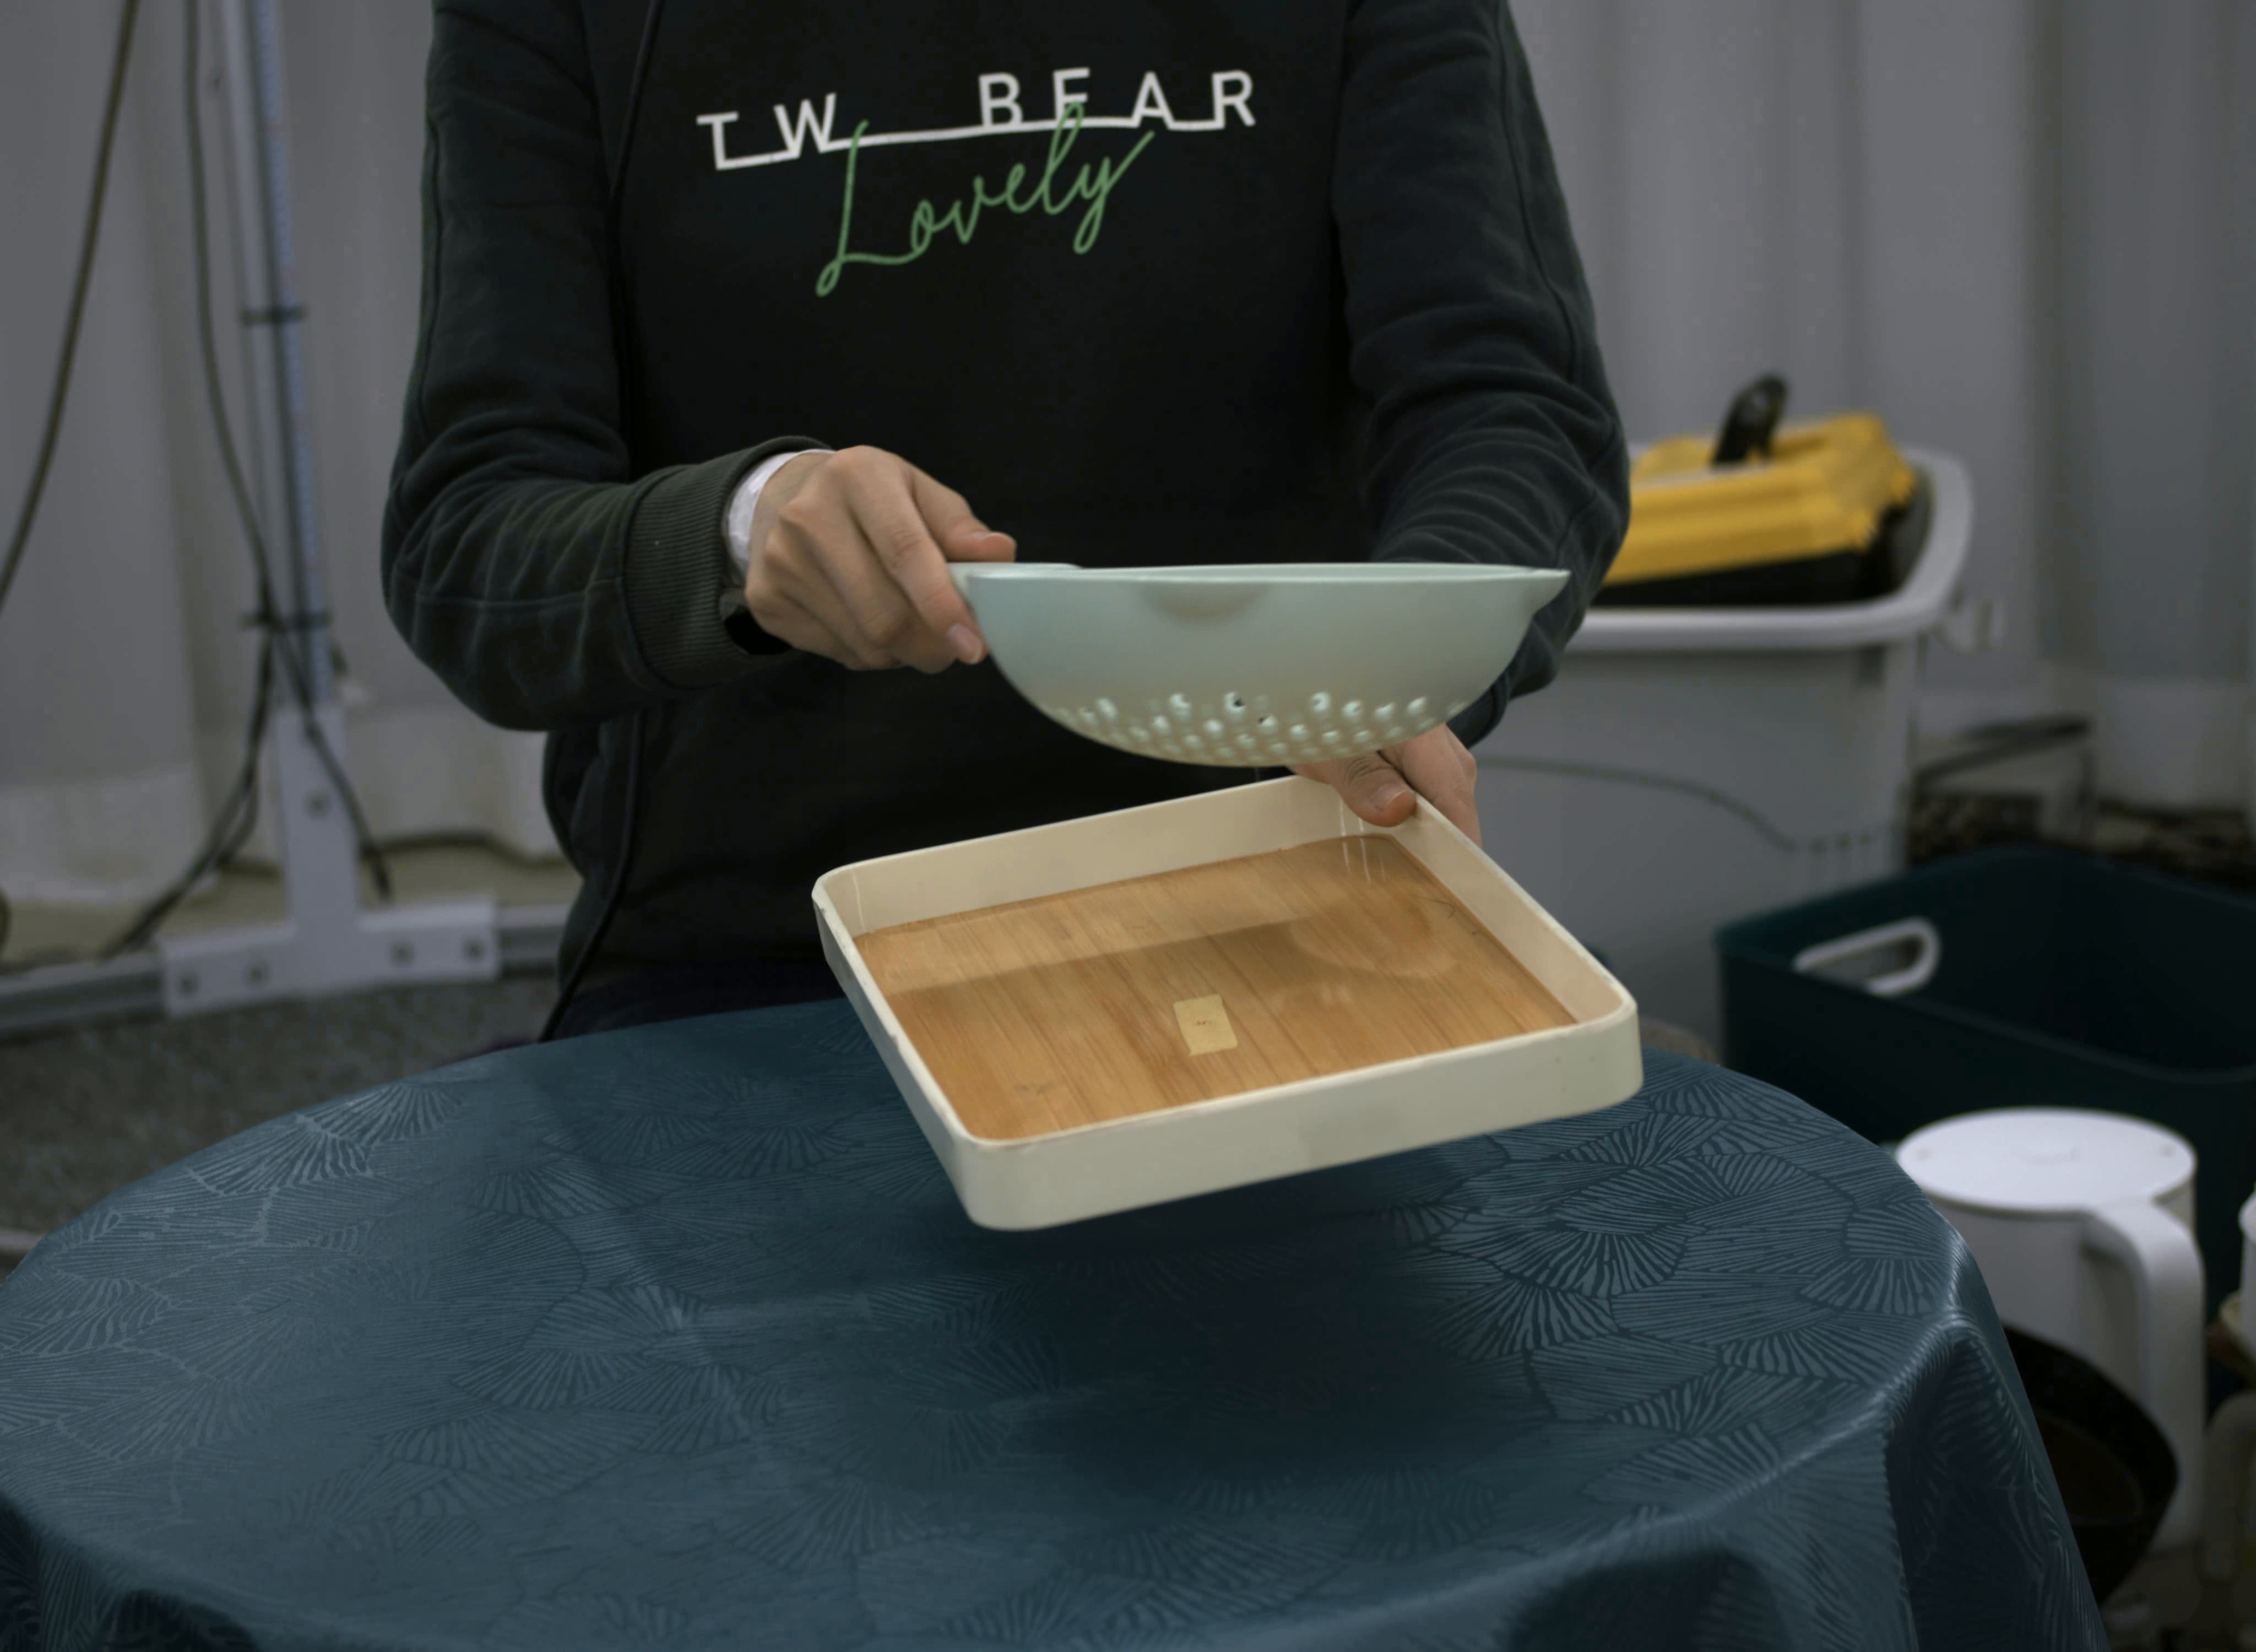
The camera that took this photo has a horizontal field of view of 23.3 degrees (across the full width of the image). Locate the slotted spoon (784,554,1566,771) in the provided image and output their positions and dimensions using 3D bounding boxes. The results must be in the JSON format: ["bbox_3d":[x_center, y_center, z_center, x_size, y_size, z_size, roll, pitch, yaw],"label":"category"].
[{"bbox_3d":[-0.016,-0.067,1.687,0.168,0.075,0.361,-1,11,-32],"label":"slotted spoon"}]

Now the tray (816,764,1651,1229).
[{"bbox_3d":[0.023,0.045,1.589,0.191,0.027,0.302,-11,16,-9],"label":"tray"}]
